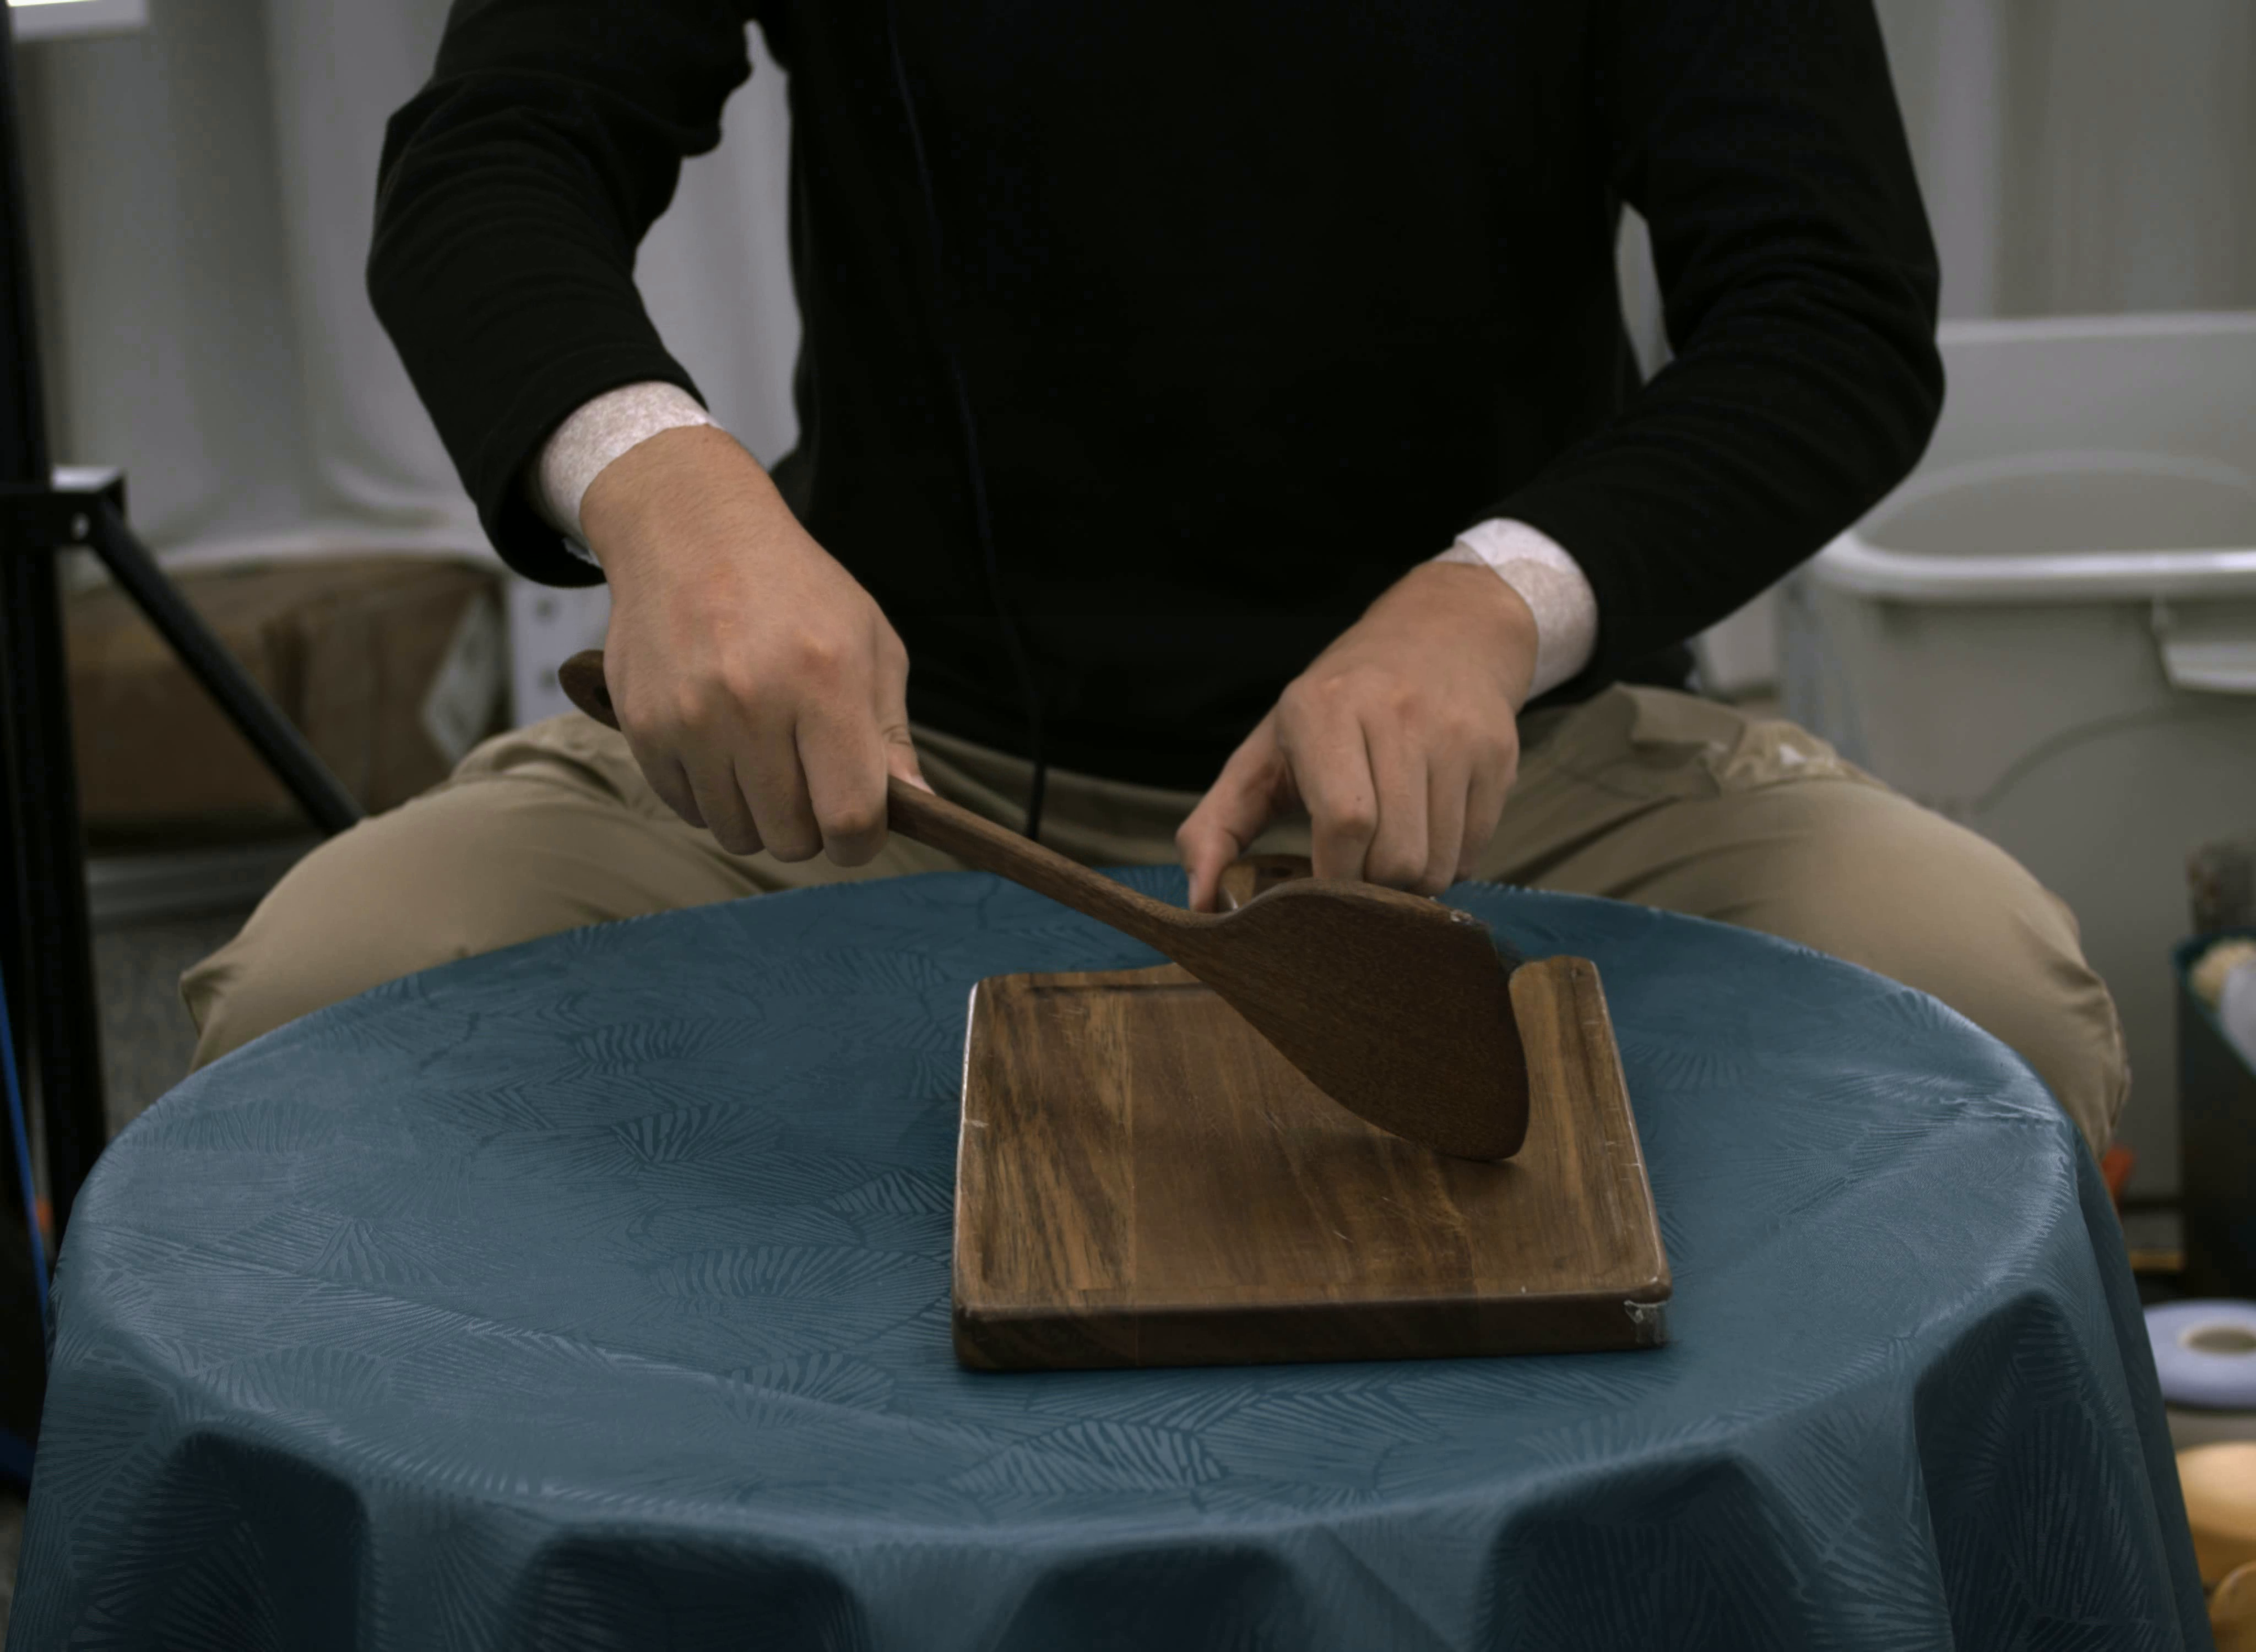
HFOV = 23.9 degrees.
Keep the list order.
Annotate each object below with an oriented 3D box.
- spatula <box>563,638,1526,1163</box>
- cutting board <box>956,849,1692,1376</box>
[{"bbox_3d":[-0.034,0.007,1.585,0.395,0.095,0.015,23,48,39],"label":"spatula"},{"bbox_3d":[0.049,0.077,1.579,0.200,0.023,0.354,-3,20,1],"label":"cutting board"}]
